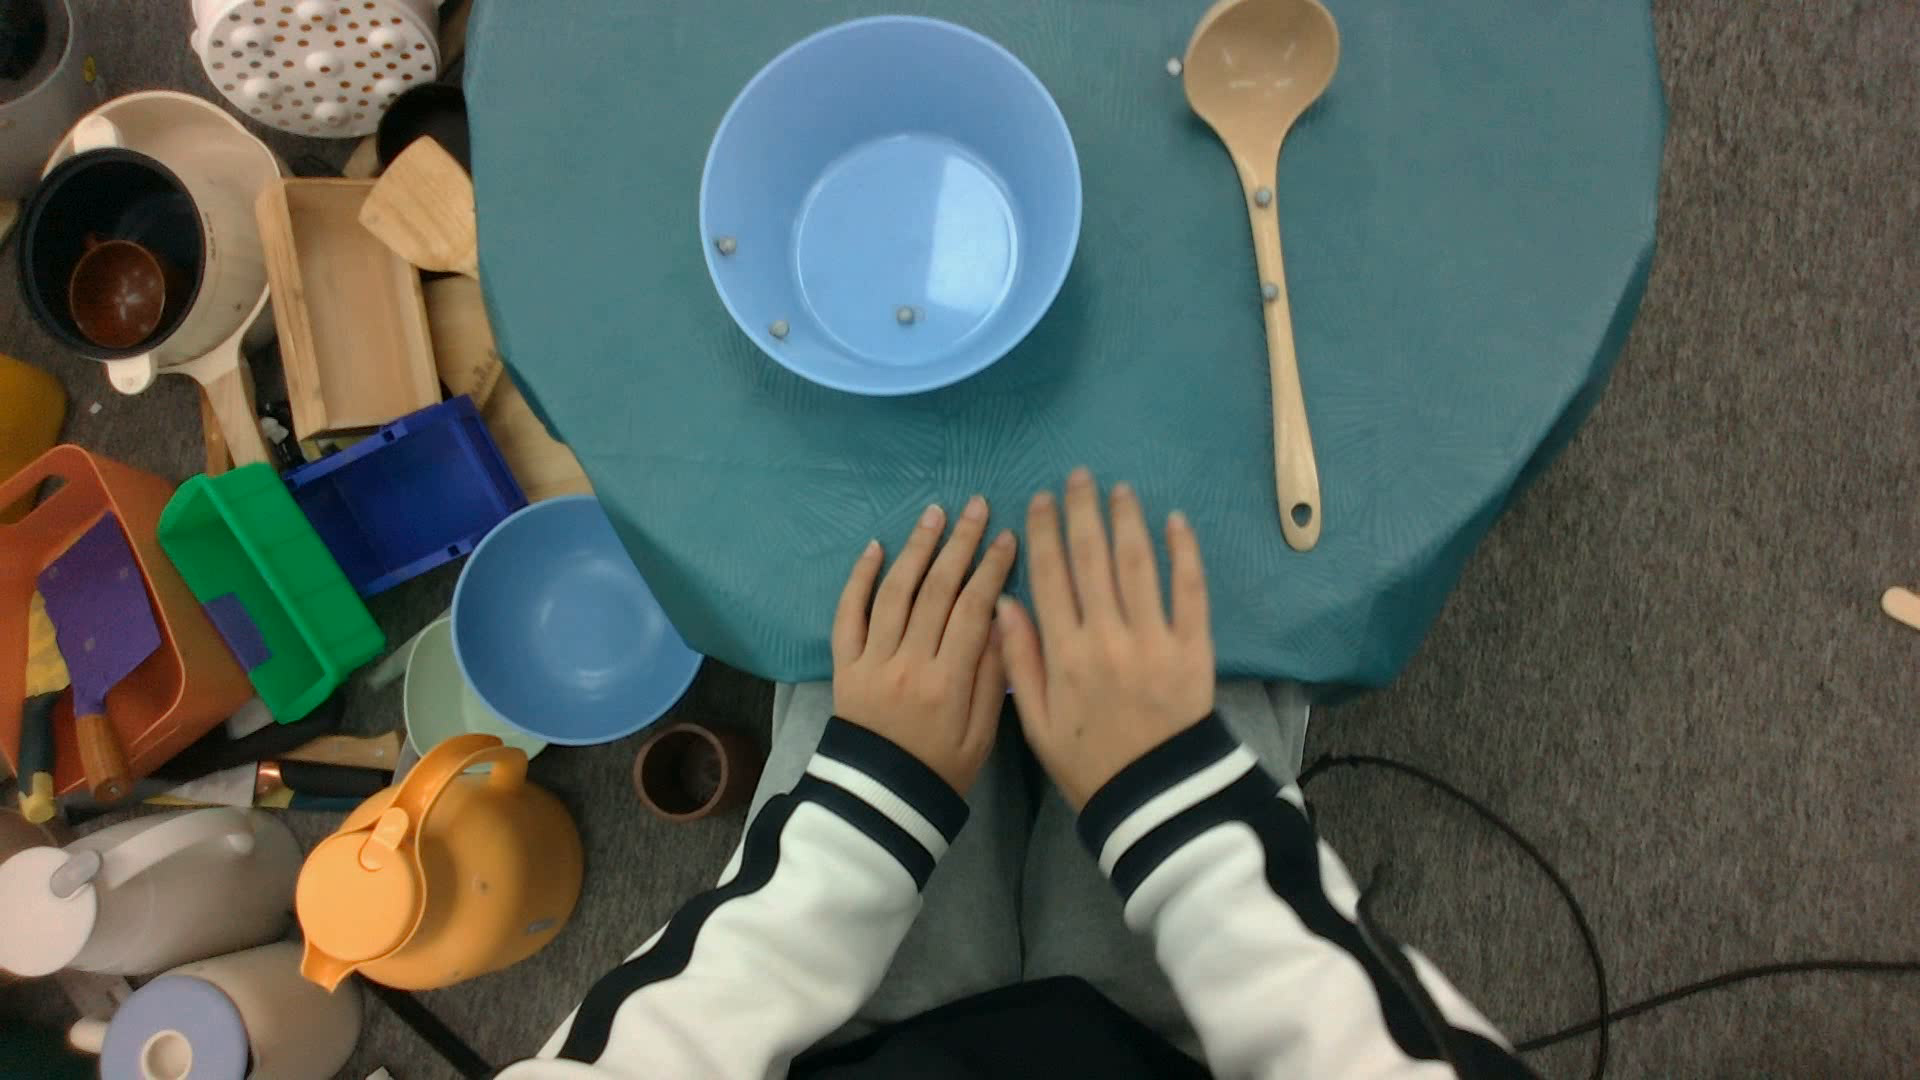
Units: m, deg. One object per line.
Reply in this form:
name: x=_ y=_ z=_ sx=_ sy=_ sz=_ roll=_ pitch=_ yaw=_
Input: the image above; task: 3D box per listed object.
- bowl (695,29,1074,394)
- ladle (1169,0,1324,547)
bowl: x=-0.032 y=-0.148 z=0.661 sx=0.176 sy=0.070 sz=0.176 roll=-1 pitch=81 yaw=6
ladle: x=0.148 y=-0.127 z=0.641 sx=0.072 sy=0.072 sz=0.255 roll=-7 pitch=81 yaw=0
